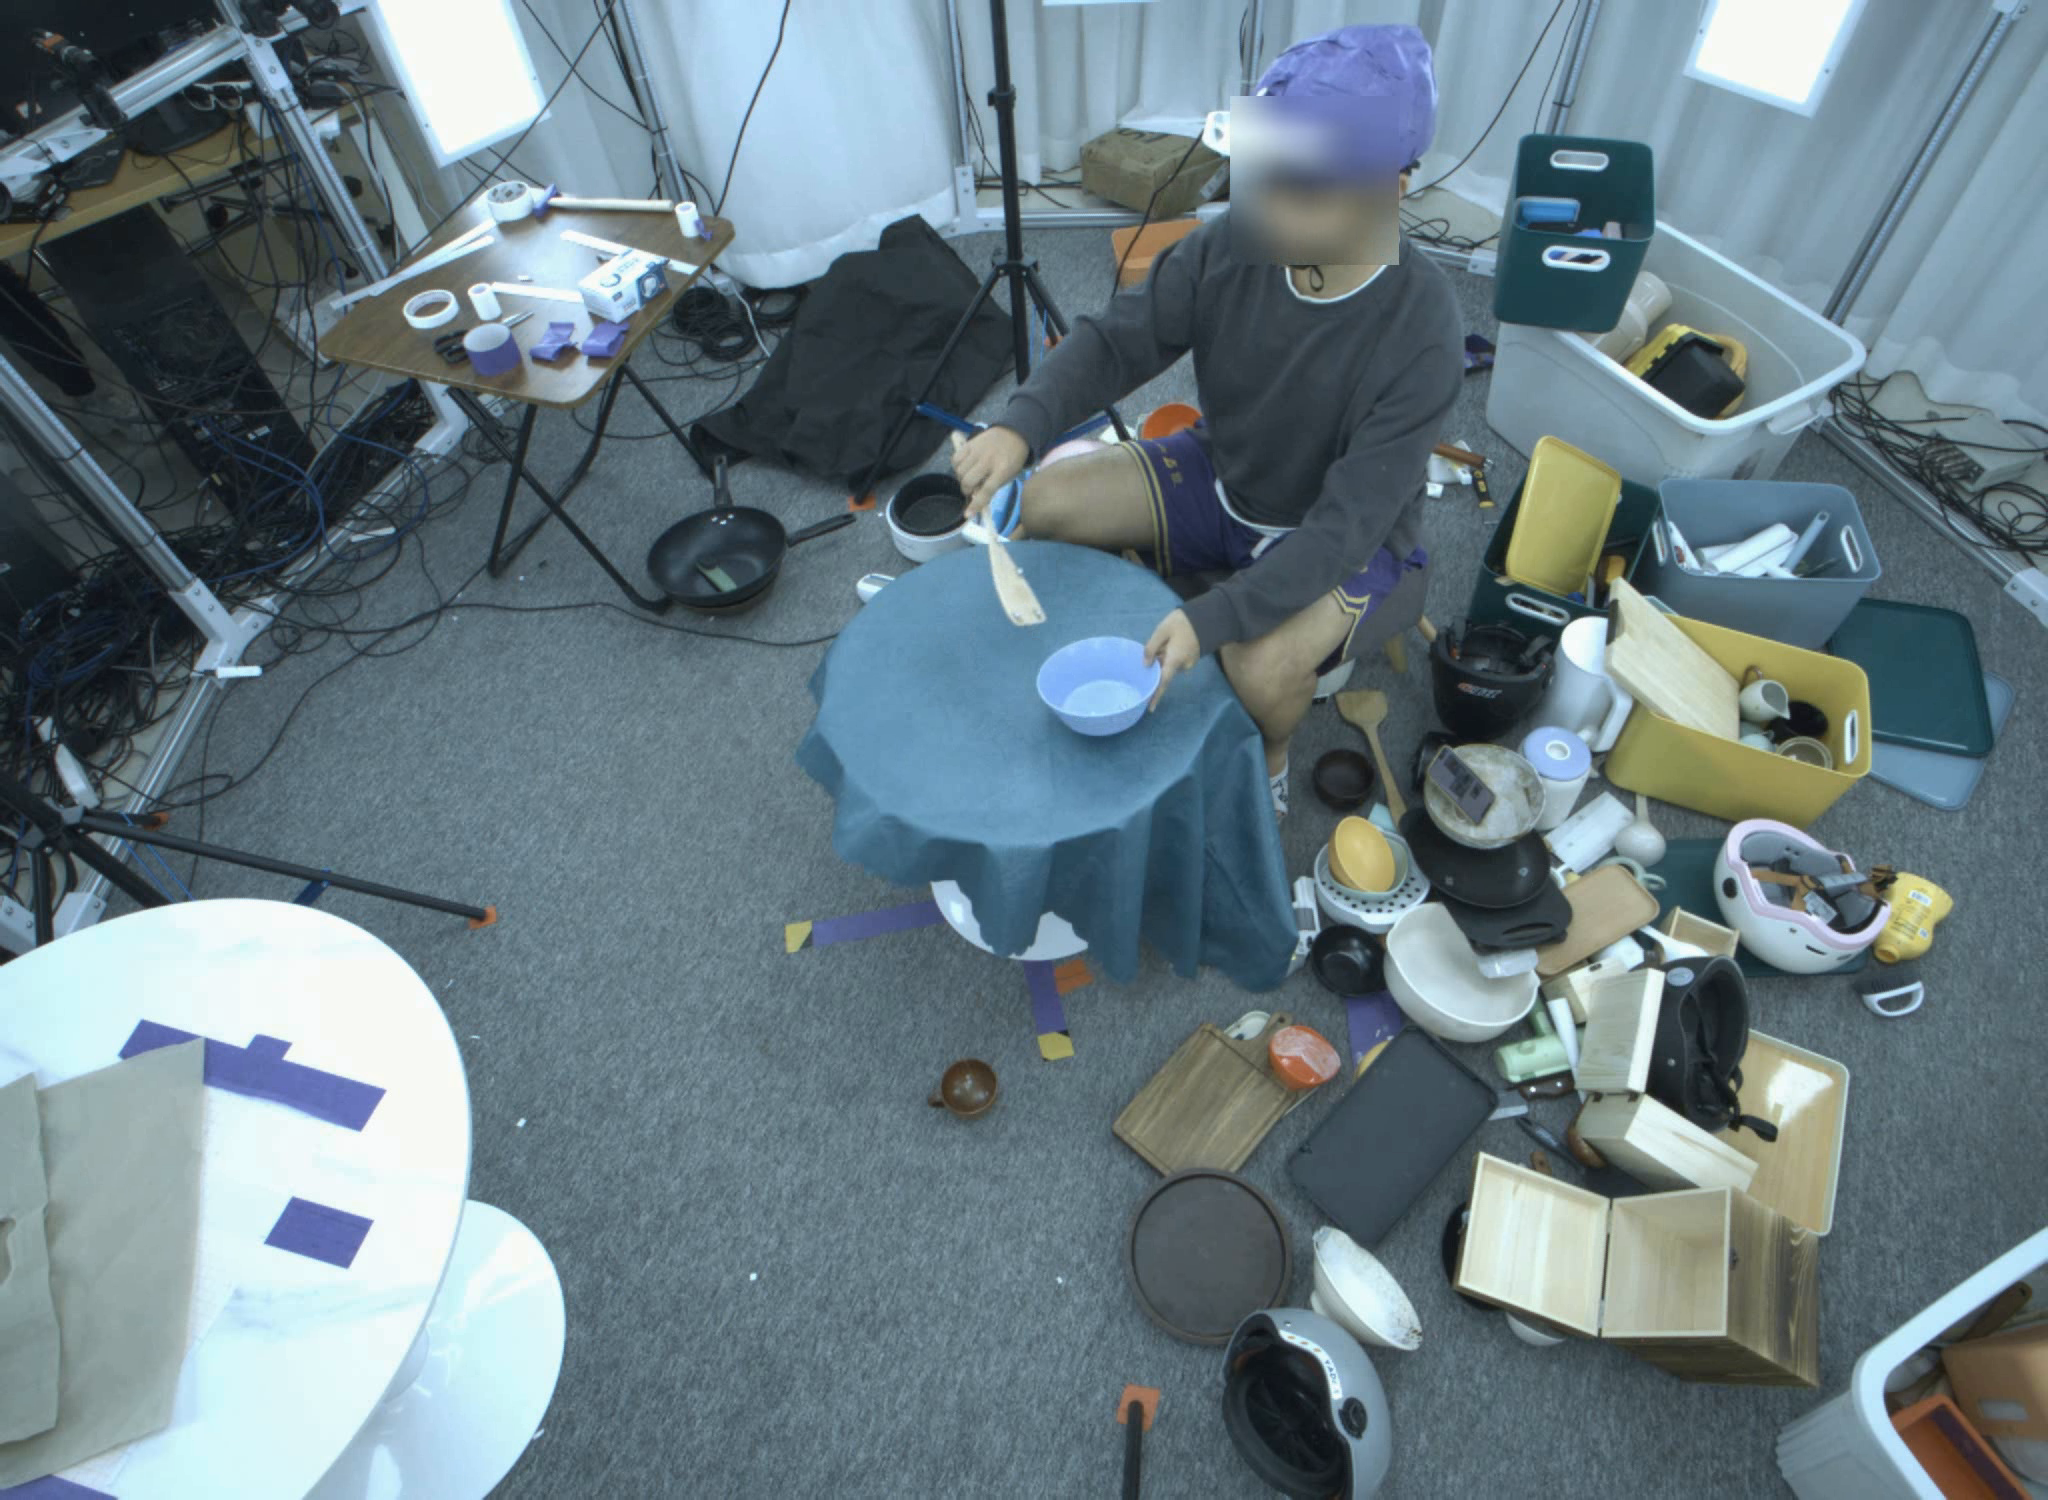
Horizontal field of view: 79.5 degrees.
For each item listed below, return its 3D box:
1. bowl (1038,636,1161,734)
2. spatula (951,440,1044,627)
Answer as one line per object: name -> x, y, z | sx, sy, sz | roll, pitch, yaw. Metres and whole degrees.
bowl -> 0.111, -0.085, 1.774 | 0.175, 0.071, 0.174 | -4, 44, 5
spatula -> -0.048, -0.314, 1.753 | 0.081, 0.016, 0.325 | -2, 68, -49
